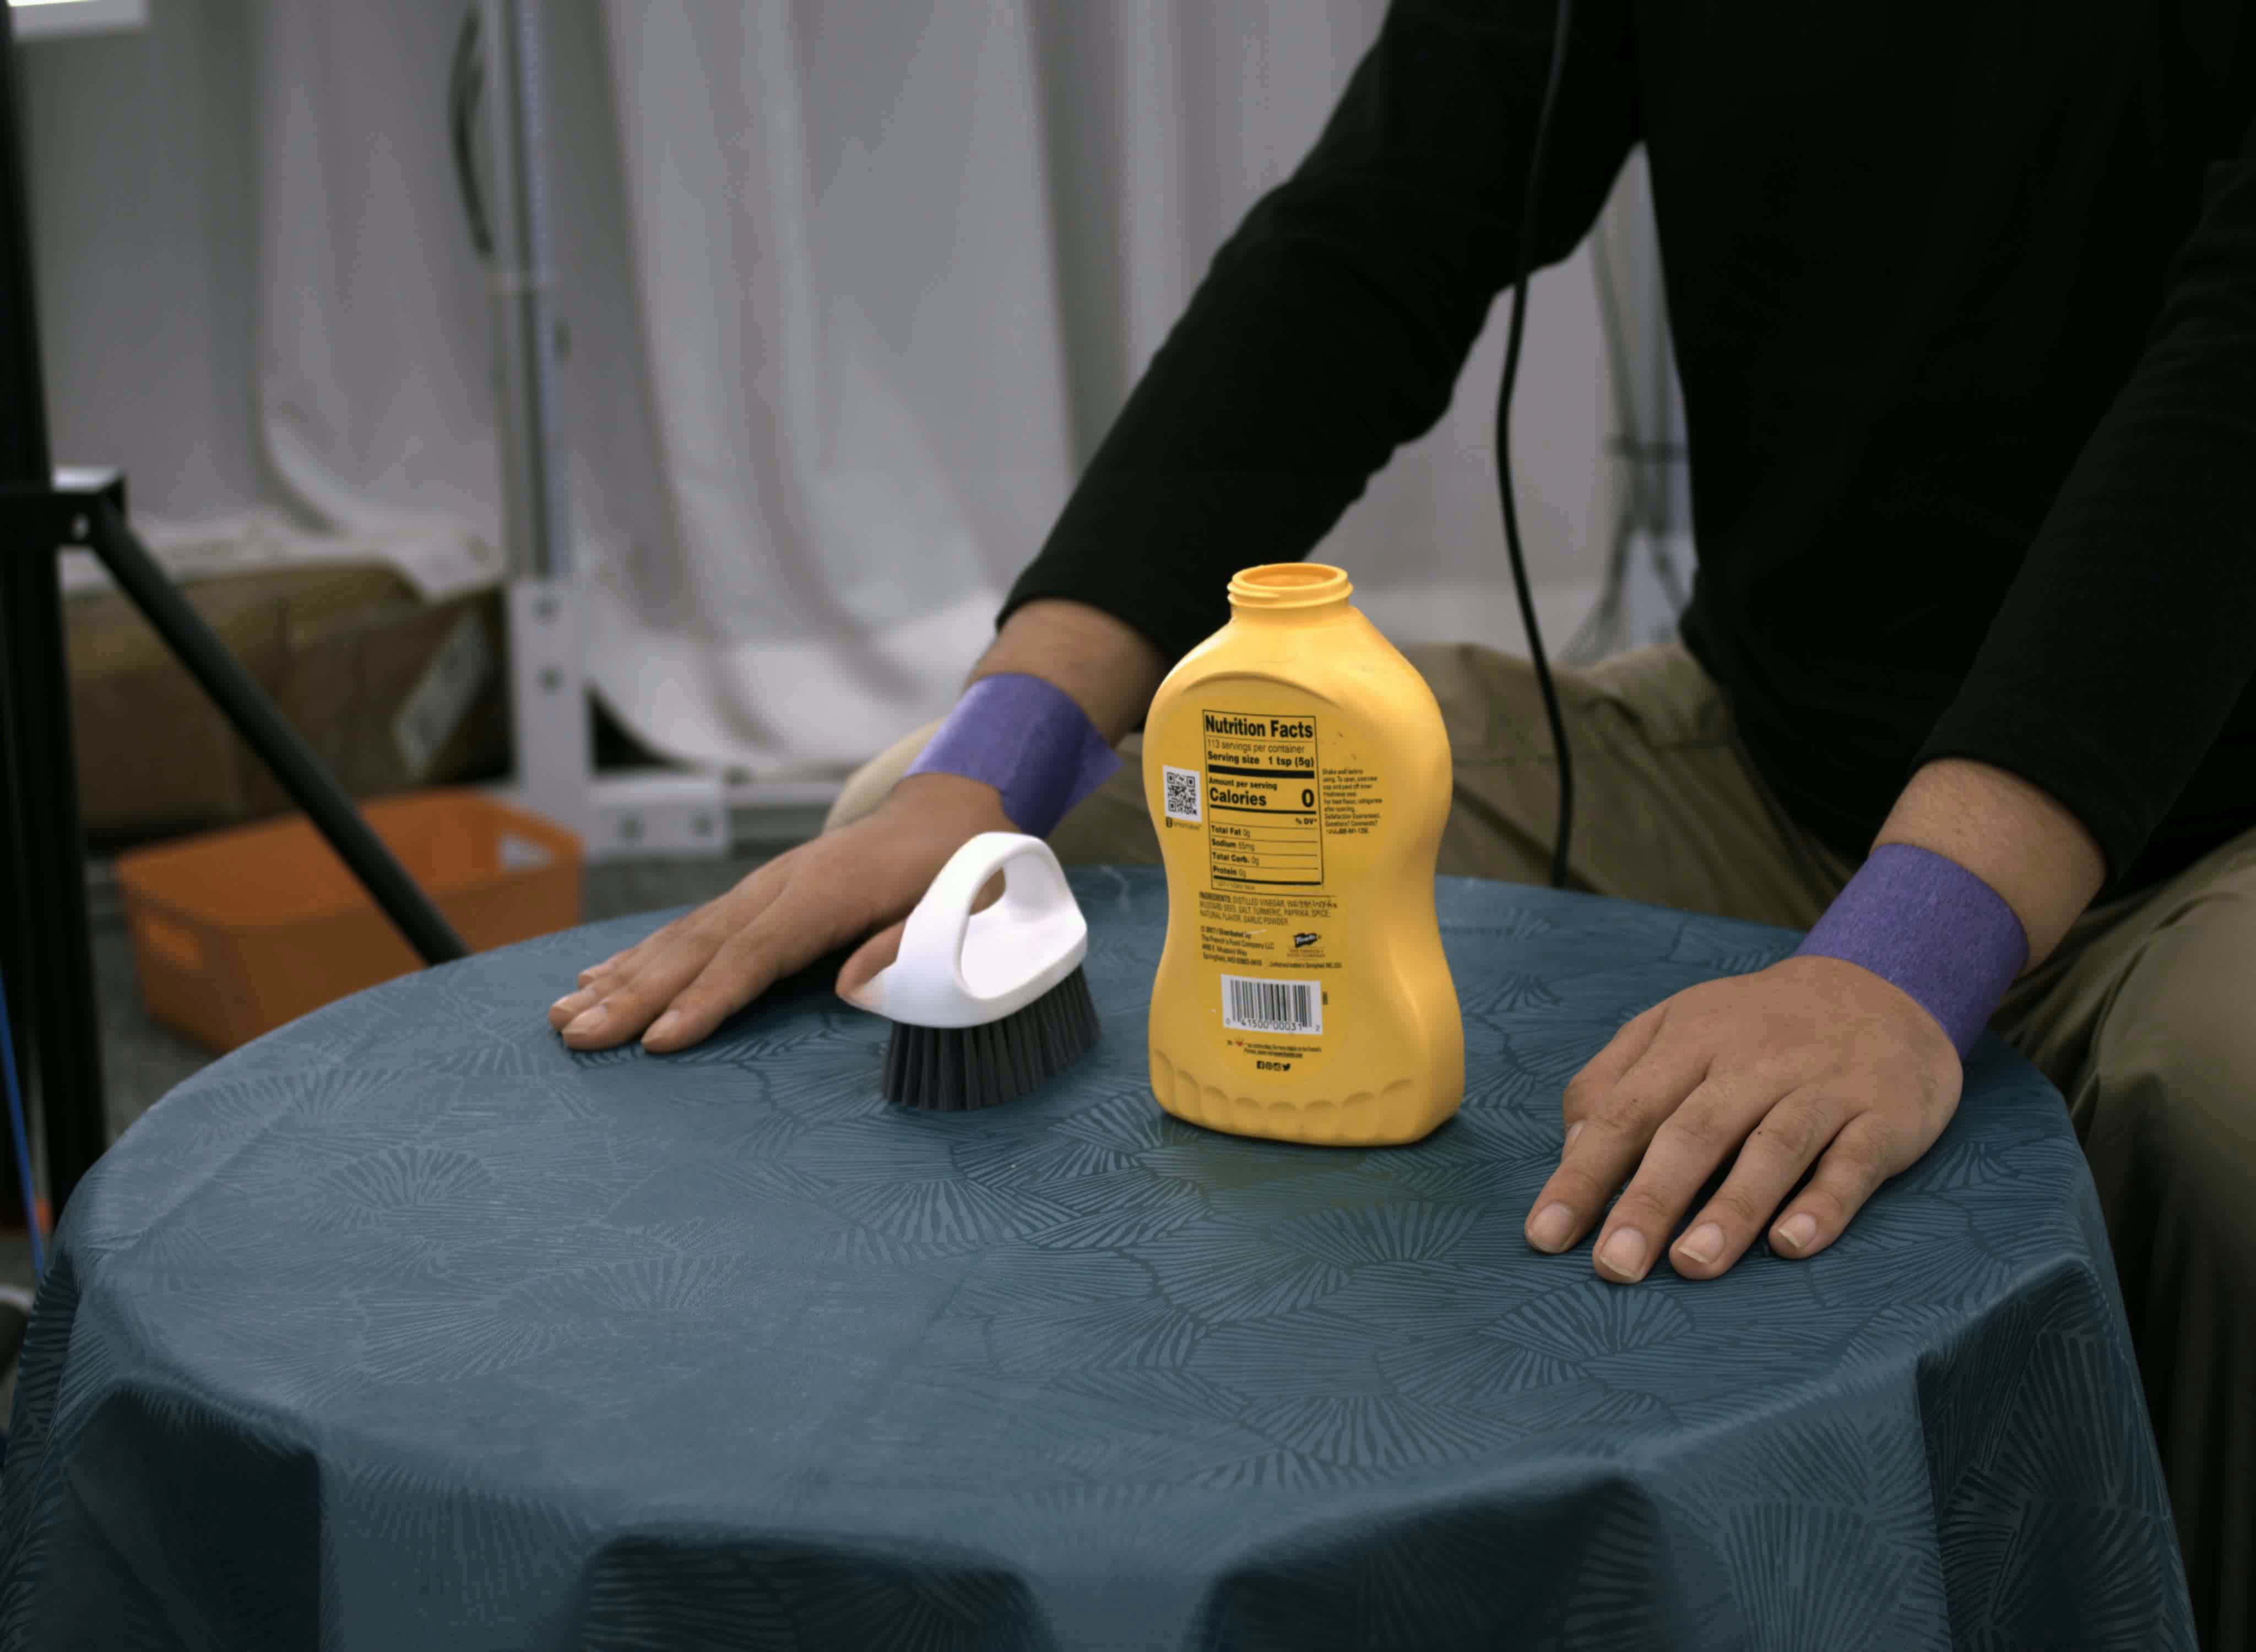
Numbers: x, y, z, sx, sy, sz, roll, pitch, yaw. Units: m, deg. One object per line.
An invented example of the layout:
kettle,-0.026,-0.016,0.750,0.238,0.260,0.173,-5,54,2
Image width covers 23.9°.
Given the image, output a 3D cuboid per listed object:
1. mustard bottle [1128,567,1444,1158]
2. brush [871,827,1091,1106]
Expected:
mustard bottle,0.047,0.009,1.594,0.099,0.172,0.058,4,11,24
brush,-0.046,0.039,1.675,0.051,0.072,0.098,7,19,24
